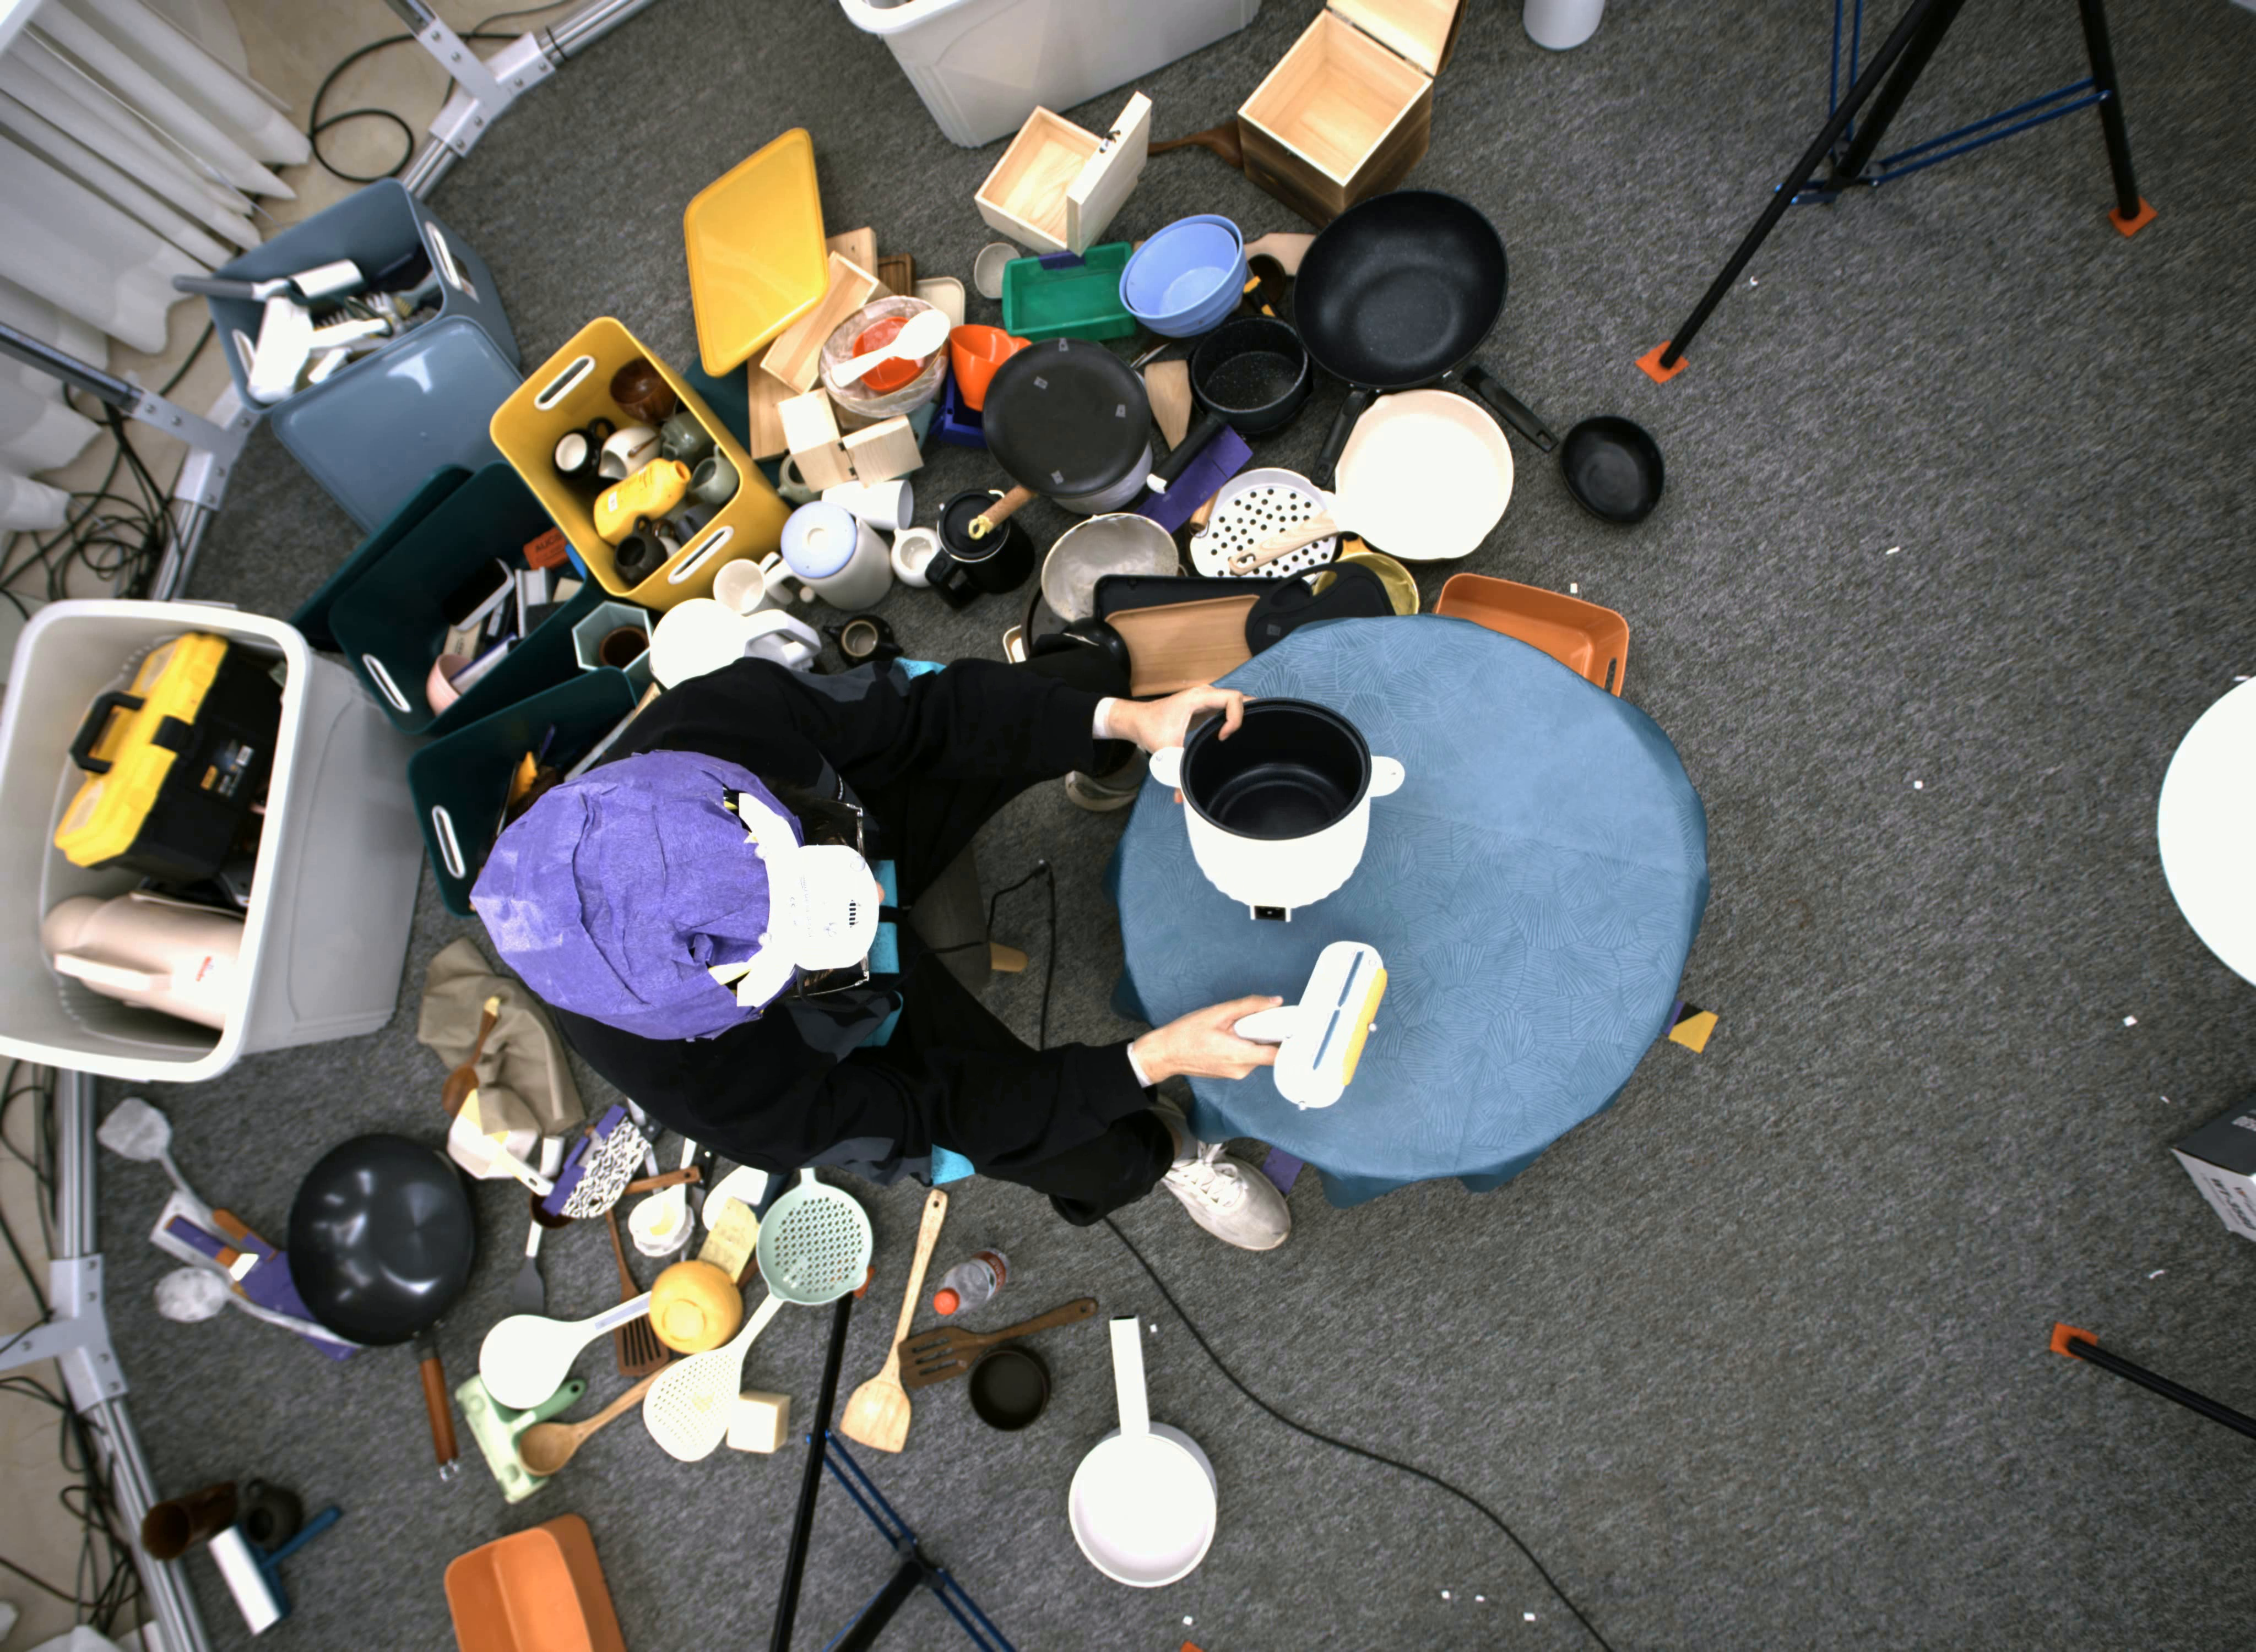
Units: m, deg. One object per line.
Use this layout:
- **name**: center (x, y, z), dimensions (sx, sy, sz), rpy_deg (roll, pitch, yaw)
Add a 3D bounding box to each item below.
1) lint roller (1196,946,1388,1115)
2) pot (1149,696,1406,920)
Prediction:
- **lint roller**: center (0.148, 0.198, 1.375), dimensions (0.193, 0.075, 0.188), rpy_deg (2, 47, 32)
- **pot**: center (0.146, -0.021, 1.349), dimensions (0.241, 0.146, 0.186), rpy_deg (2, 57, 10)
